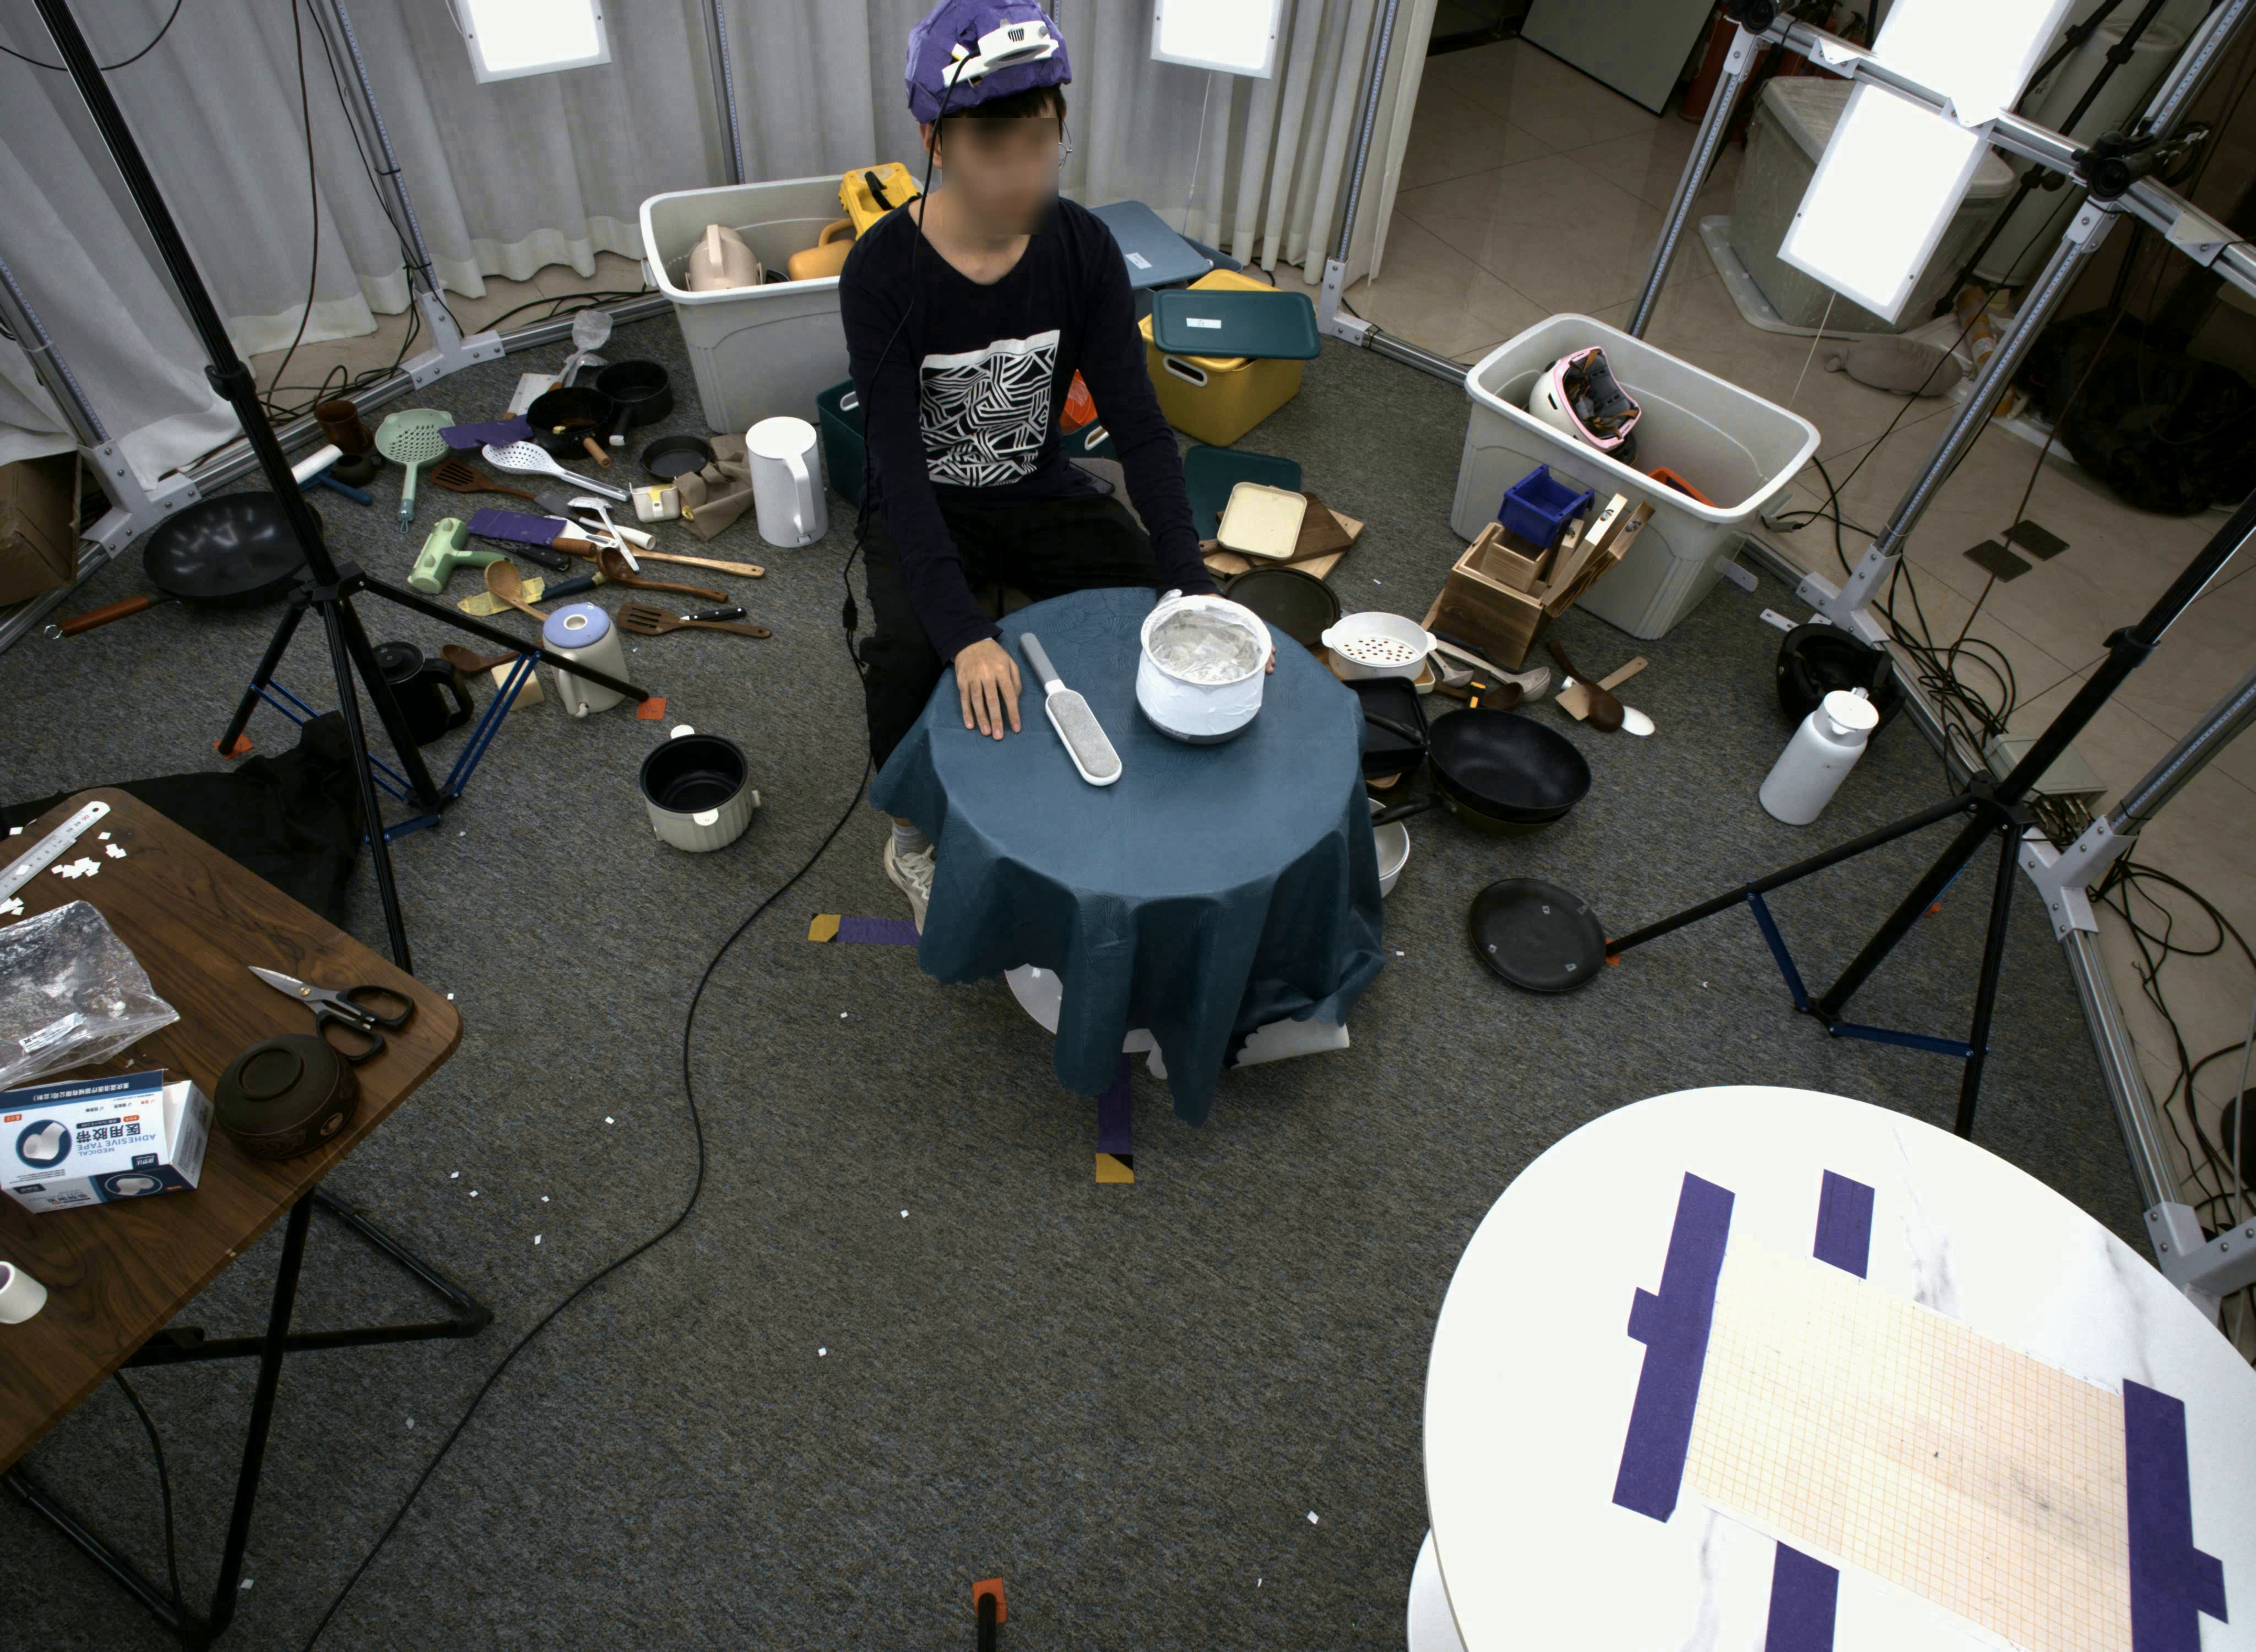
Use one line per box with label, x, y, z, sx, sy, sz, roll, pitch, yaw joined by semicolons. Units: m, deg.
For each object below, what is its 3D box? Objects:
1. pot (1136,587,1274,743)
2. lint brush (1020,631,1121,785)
pot;0.091;-0.233;1.784;0.179;0.133;0.239;-15;52;-19
lint brush;-0.086;-0.171;1.792;0.060;0.020;0.316;-20;53;-12
